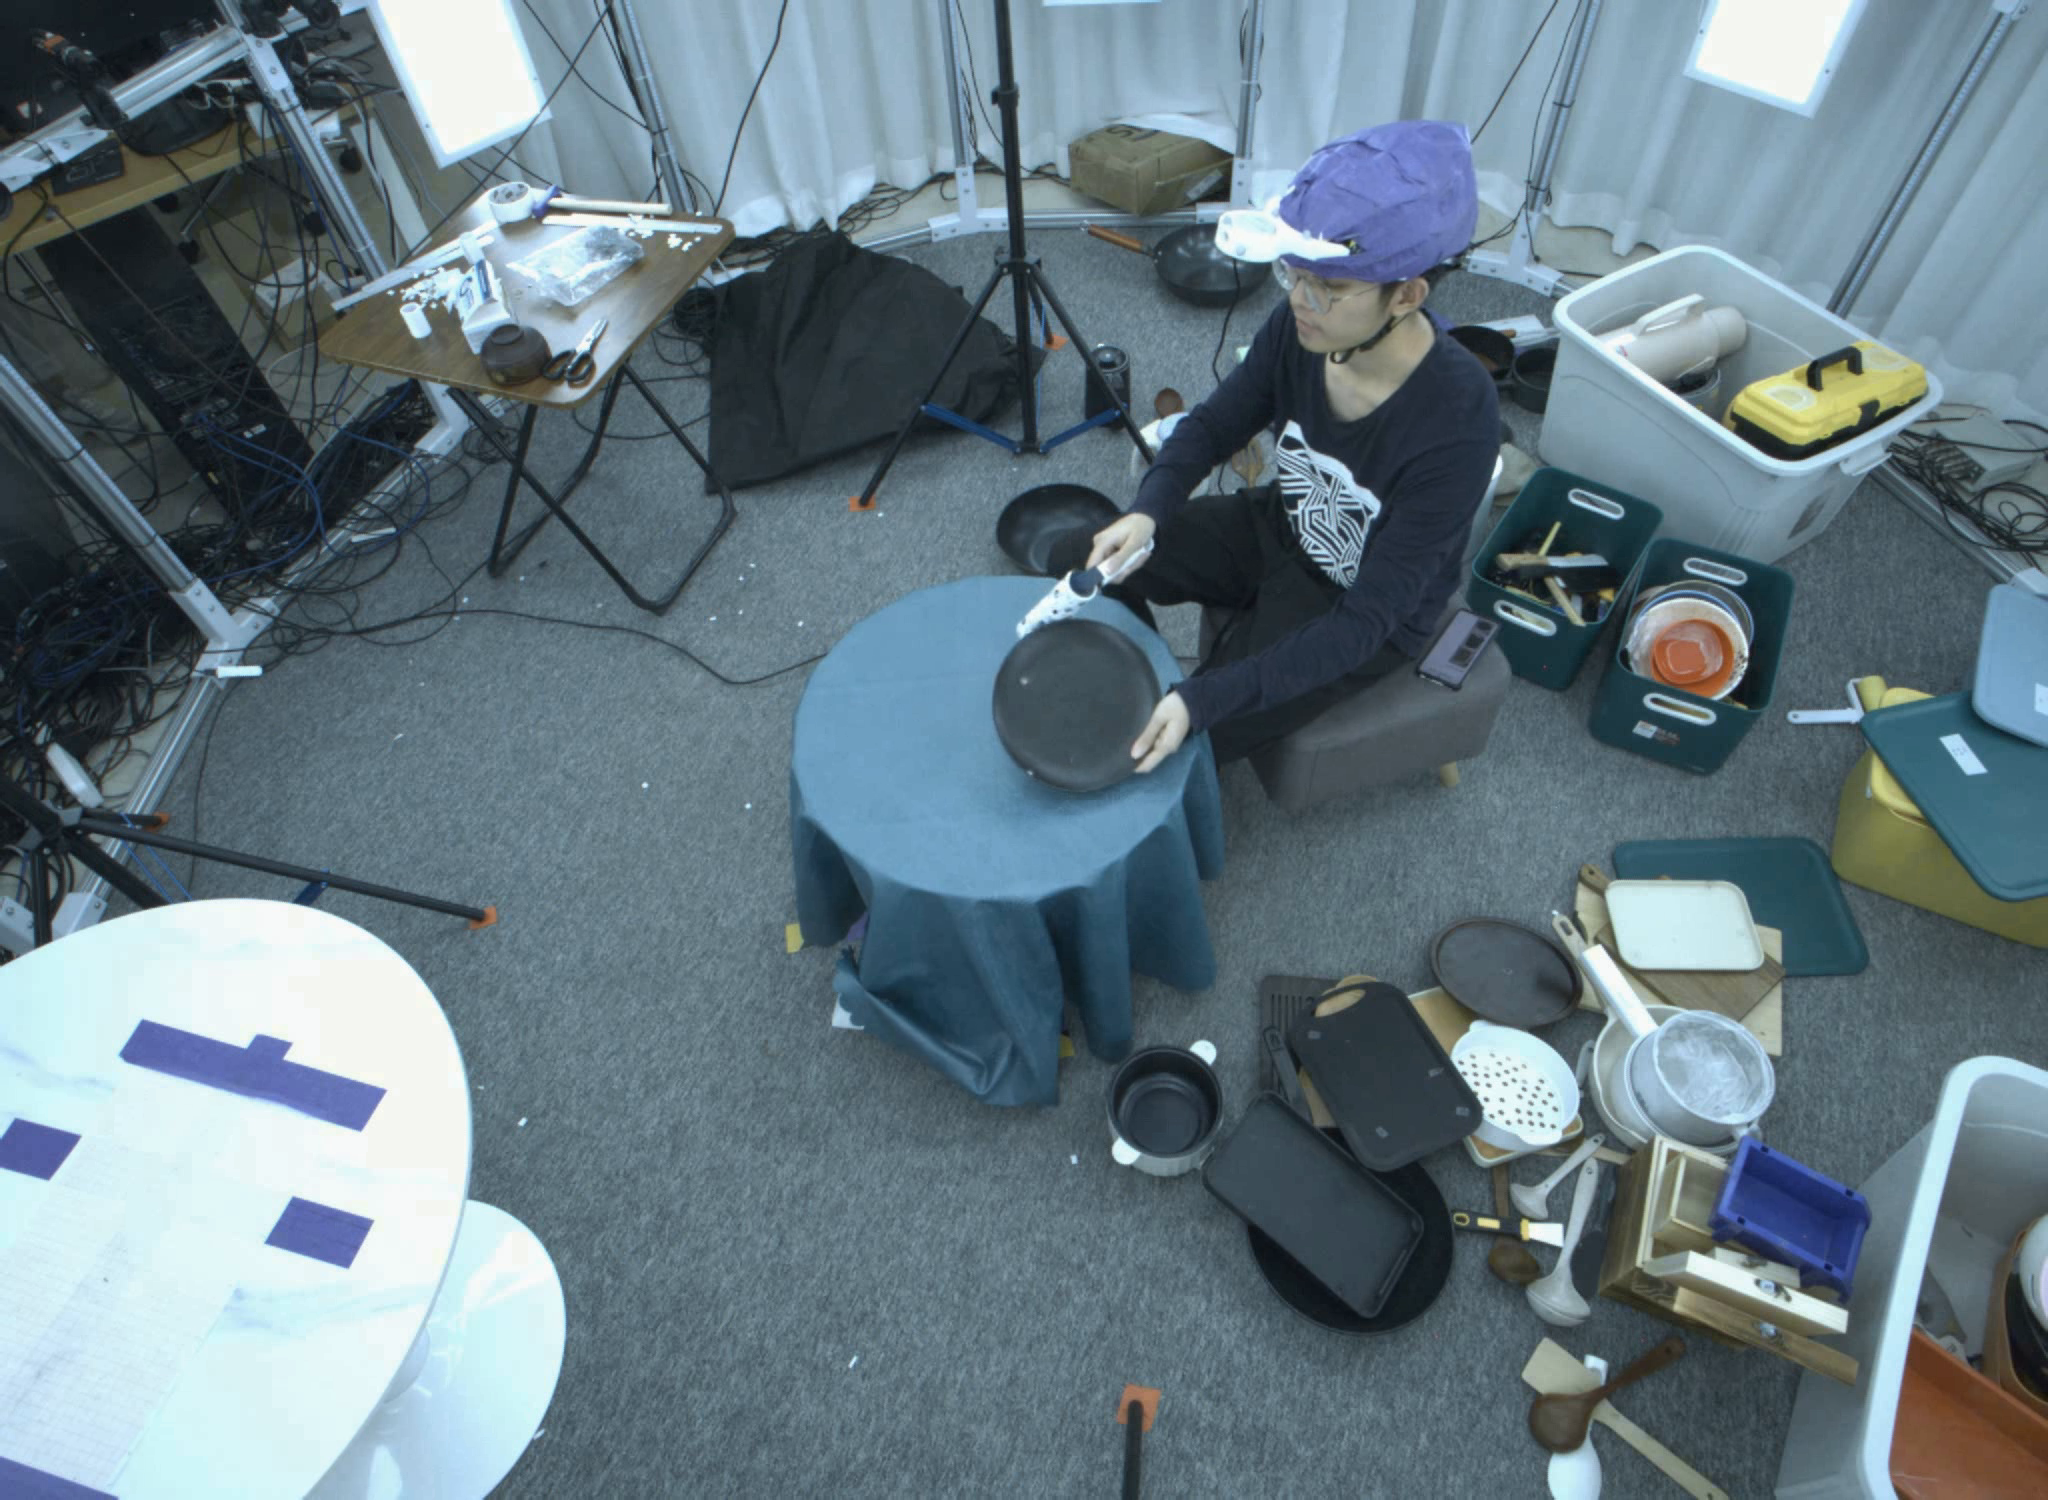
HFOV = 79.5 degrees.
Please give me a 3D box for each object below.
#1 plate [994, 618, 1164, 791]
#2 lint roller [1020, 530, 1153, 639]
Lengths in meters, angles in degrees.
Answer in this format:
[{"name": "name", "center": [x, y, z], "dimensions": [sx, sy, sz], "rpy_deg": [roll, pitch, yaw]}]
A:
[{"name": "plate", "center": [0.076, -0.064, 1.729], "dimensions": [0.247, 0.023, 0.244], "rpy_deg": [0, 89, -13]}, {"name": "lint roller", "center": [0.106, -0.260, 1.796], "dimensions": [0.050, 0.174, 0.249], "rpy_deg": [47, 56, -3]}]
